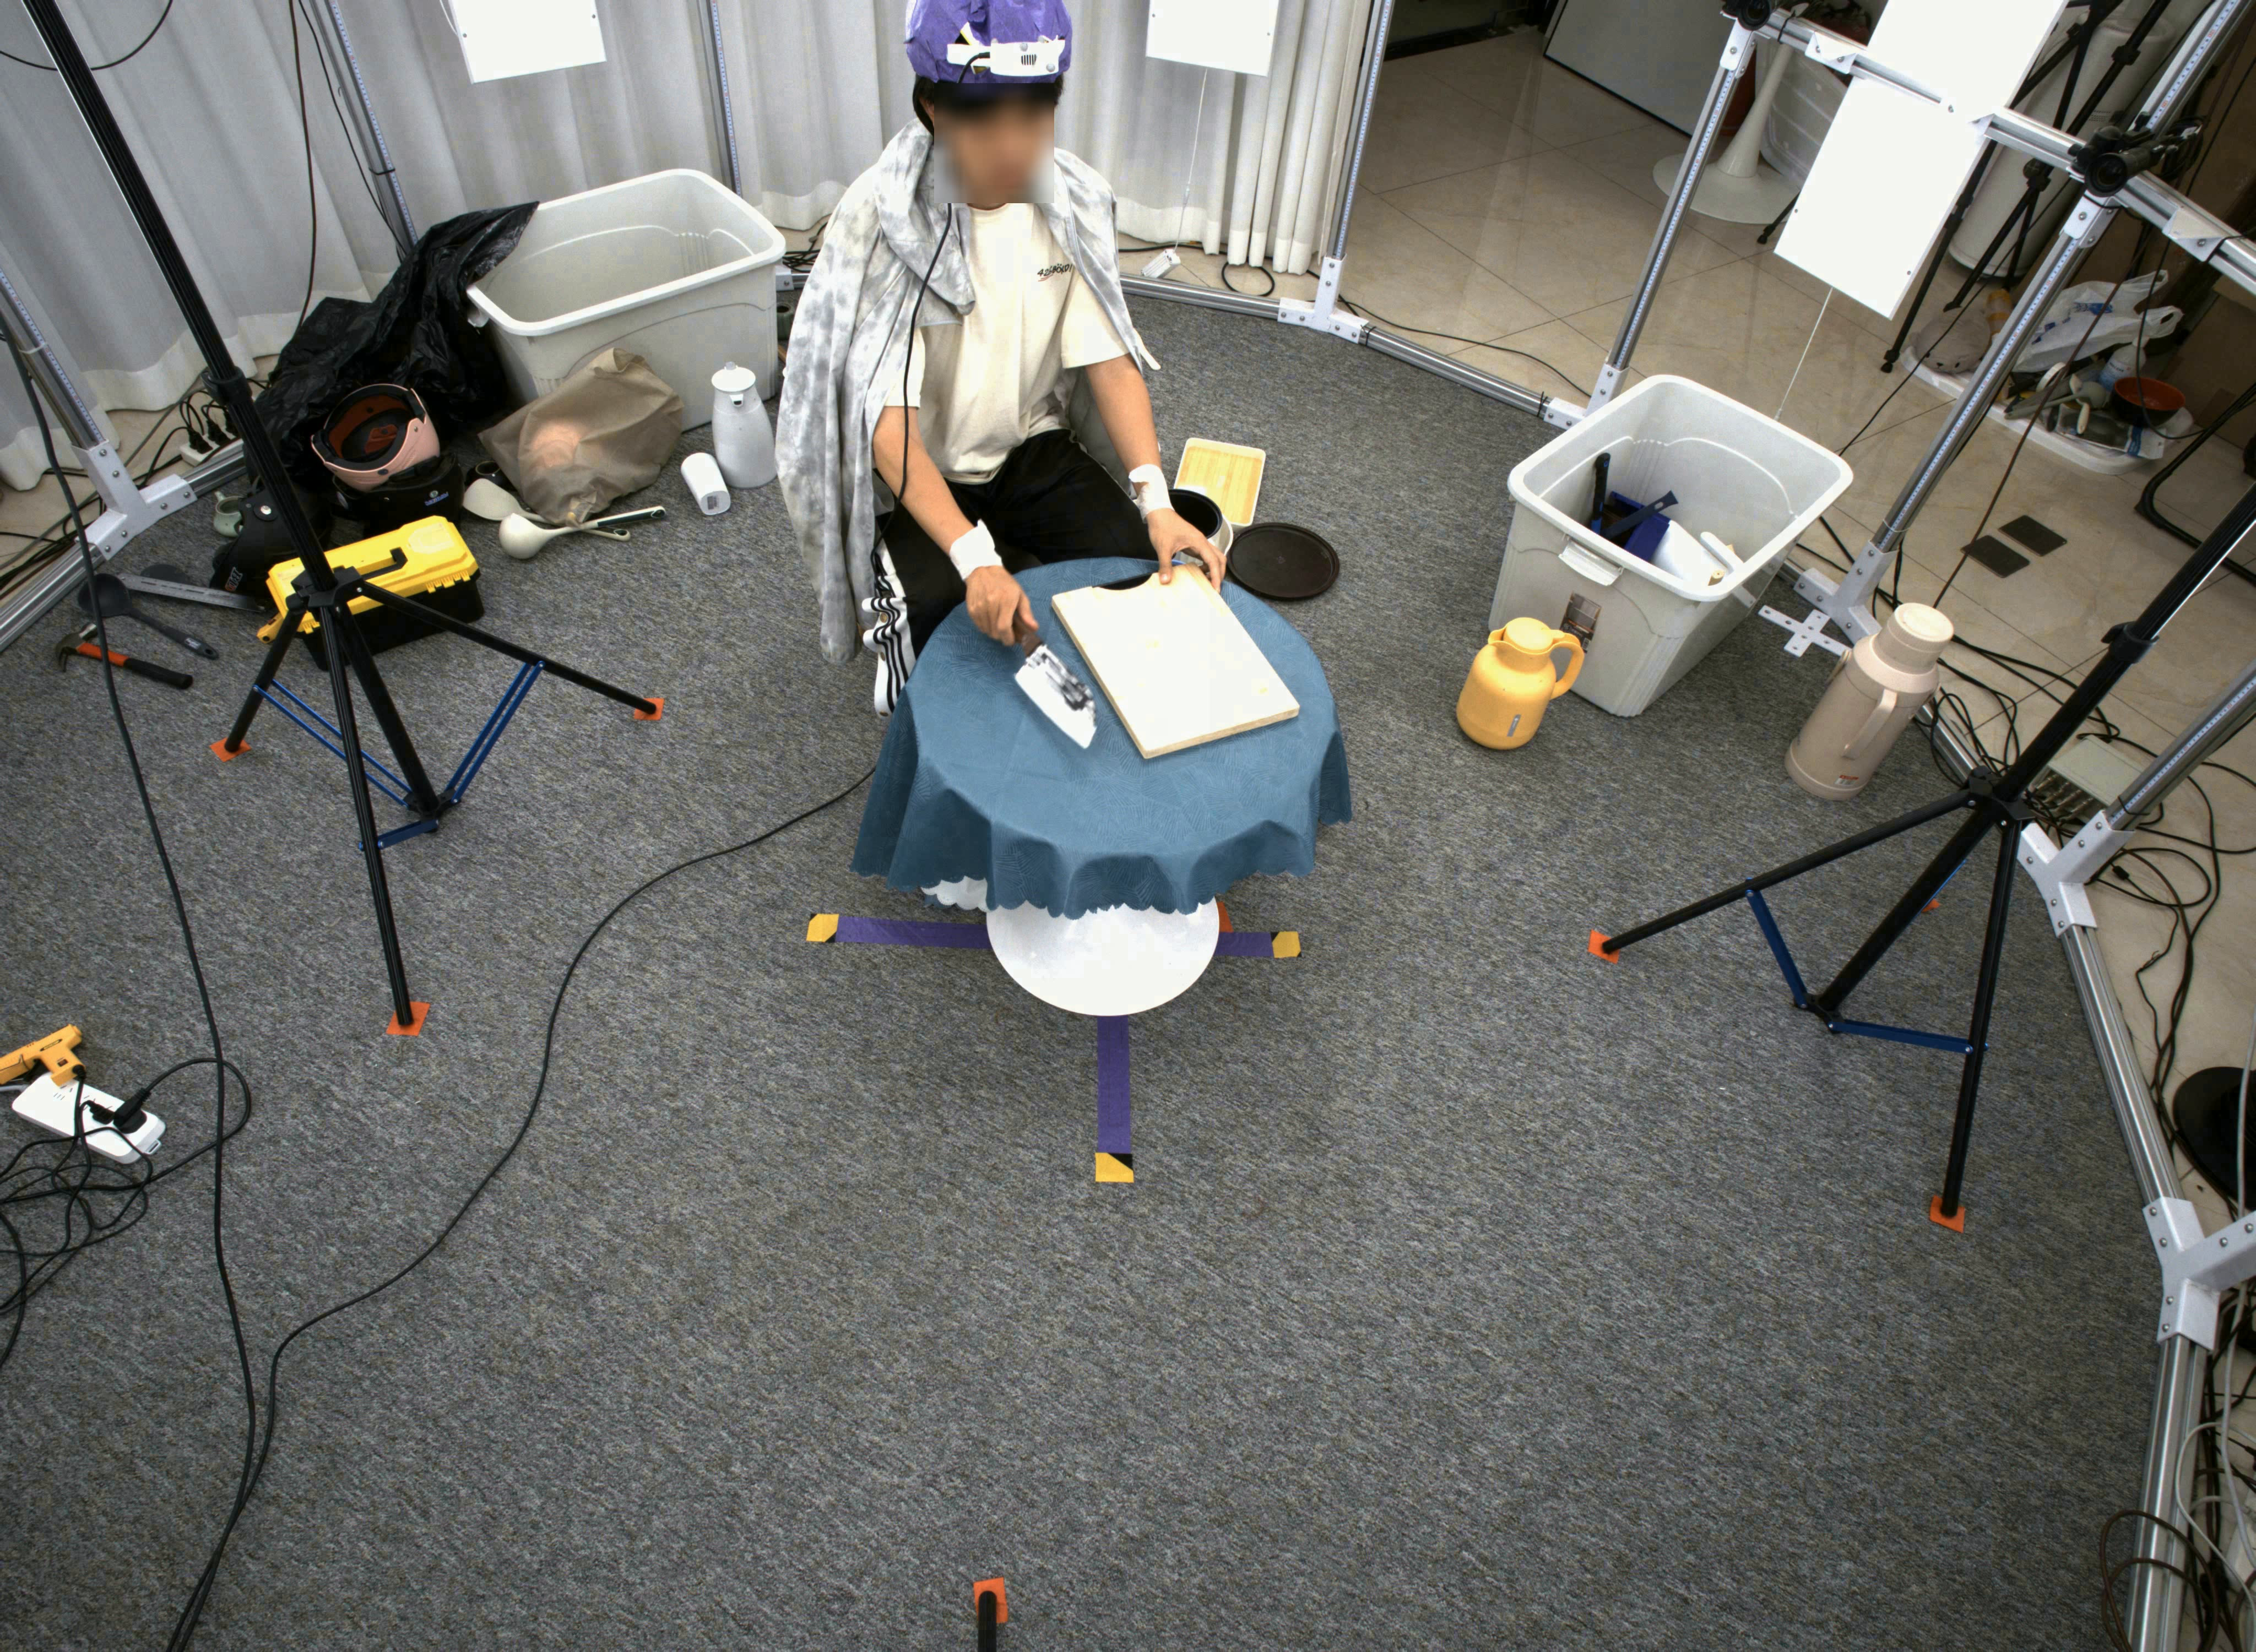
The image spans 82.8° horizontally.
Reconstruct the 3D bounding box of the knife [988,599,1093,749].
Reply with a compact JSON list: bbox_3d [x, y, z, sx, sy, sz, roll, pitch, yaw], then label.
[{"bbox_3d":[-0.126,-0.214,1.781,0.023,0.067,0.306,21,23,-52],"label":"knife"}]

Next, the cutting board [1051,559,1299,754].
[{"bbox_3d":[0.063,-0.255,1.877,0.251,0.023,0.356,-17,52,-18],"label":"cutting board"}]
